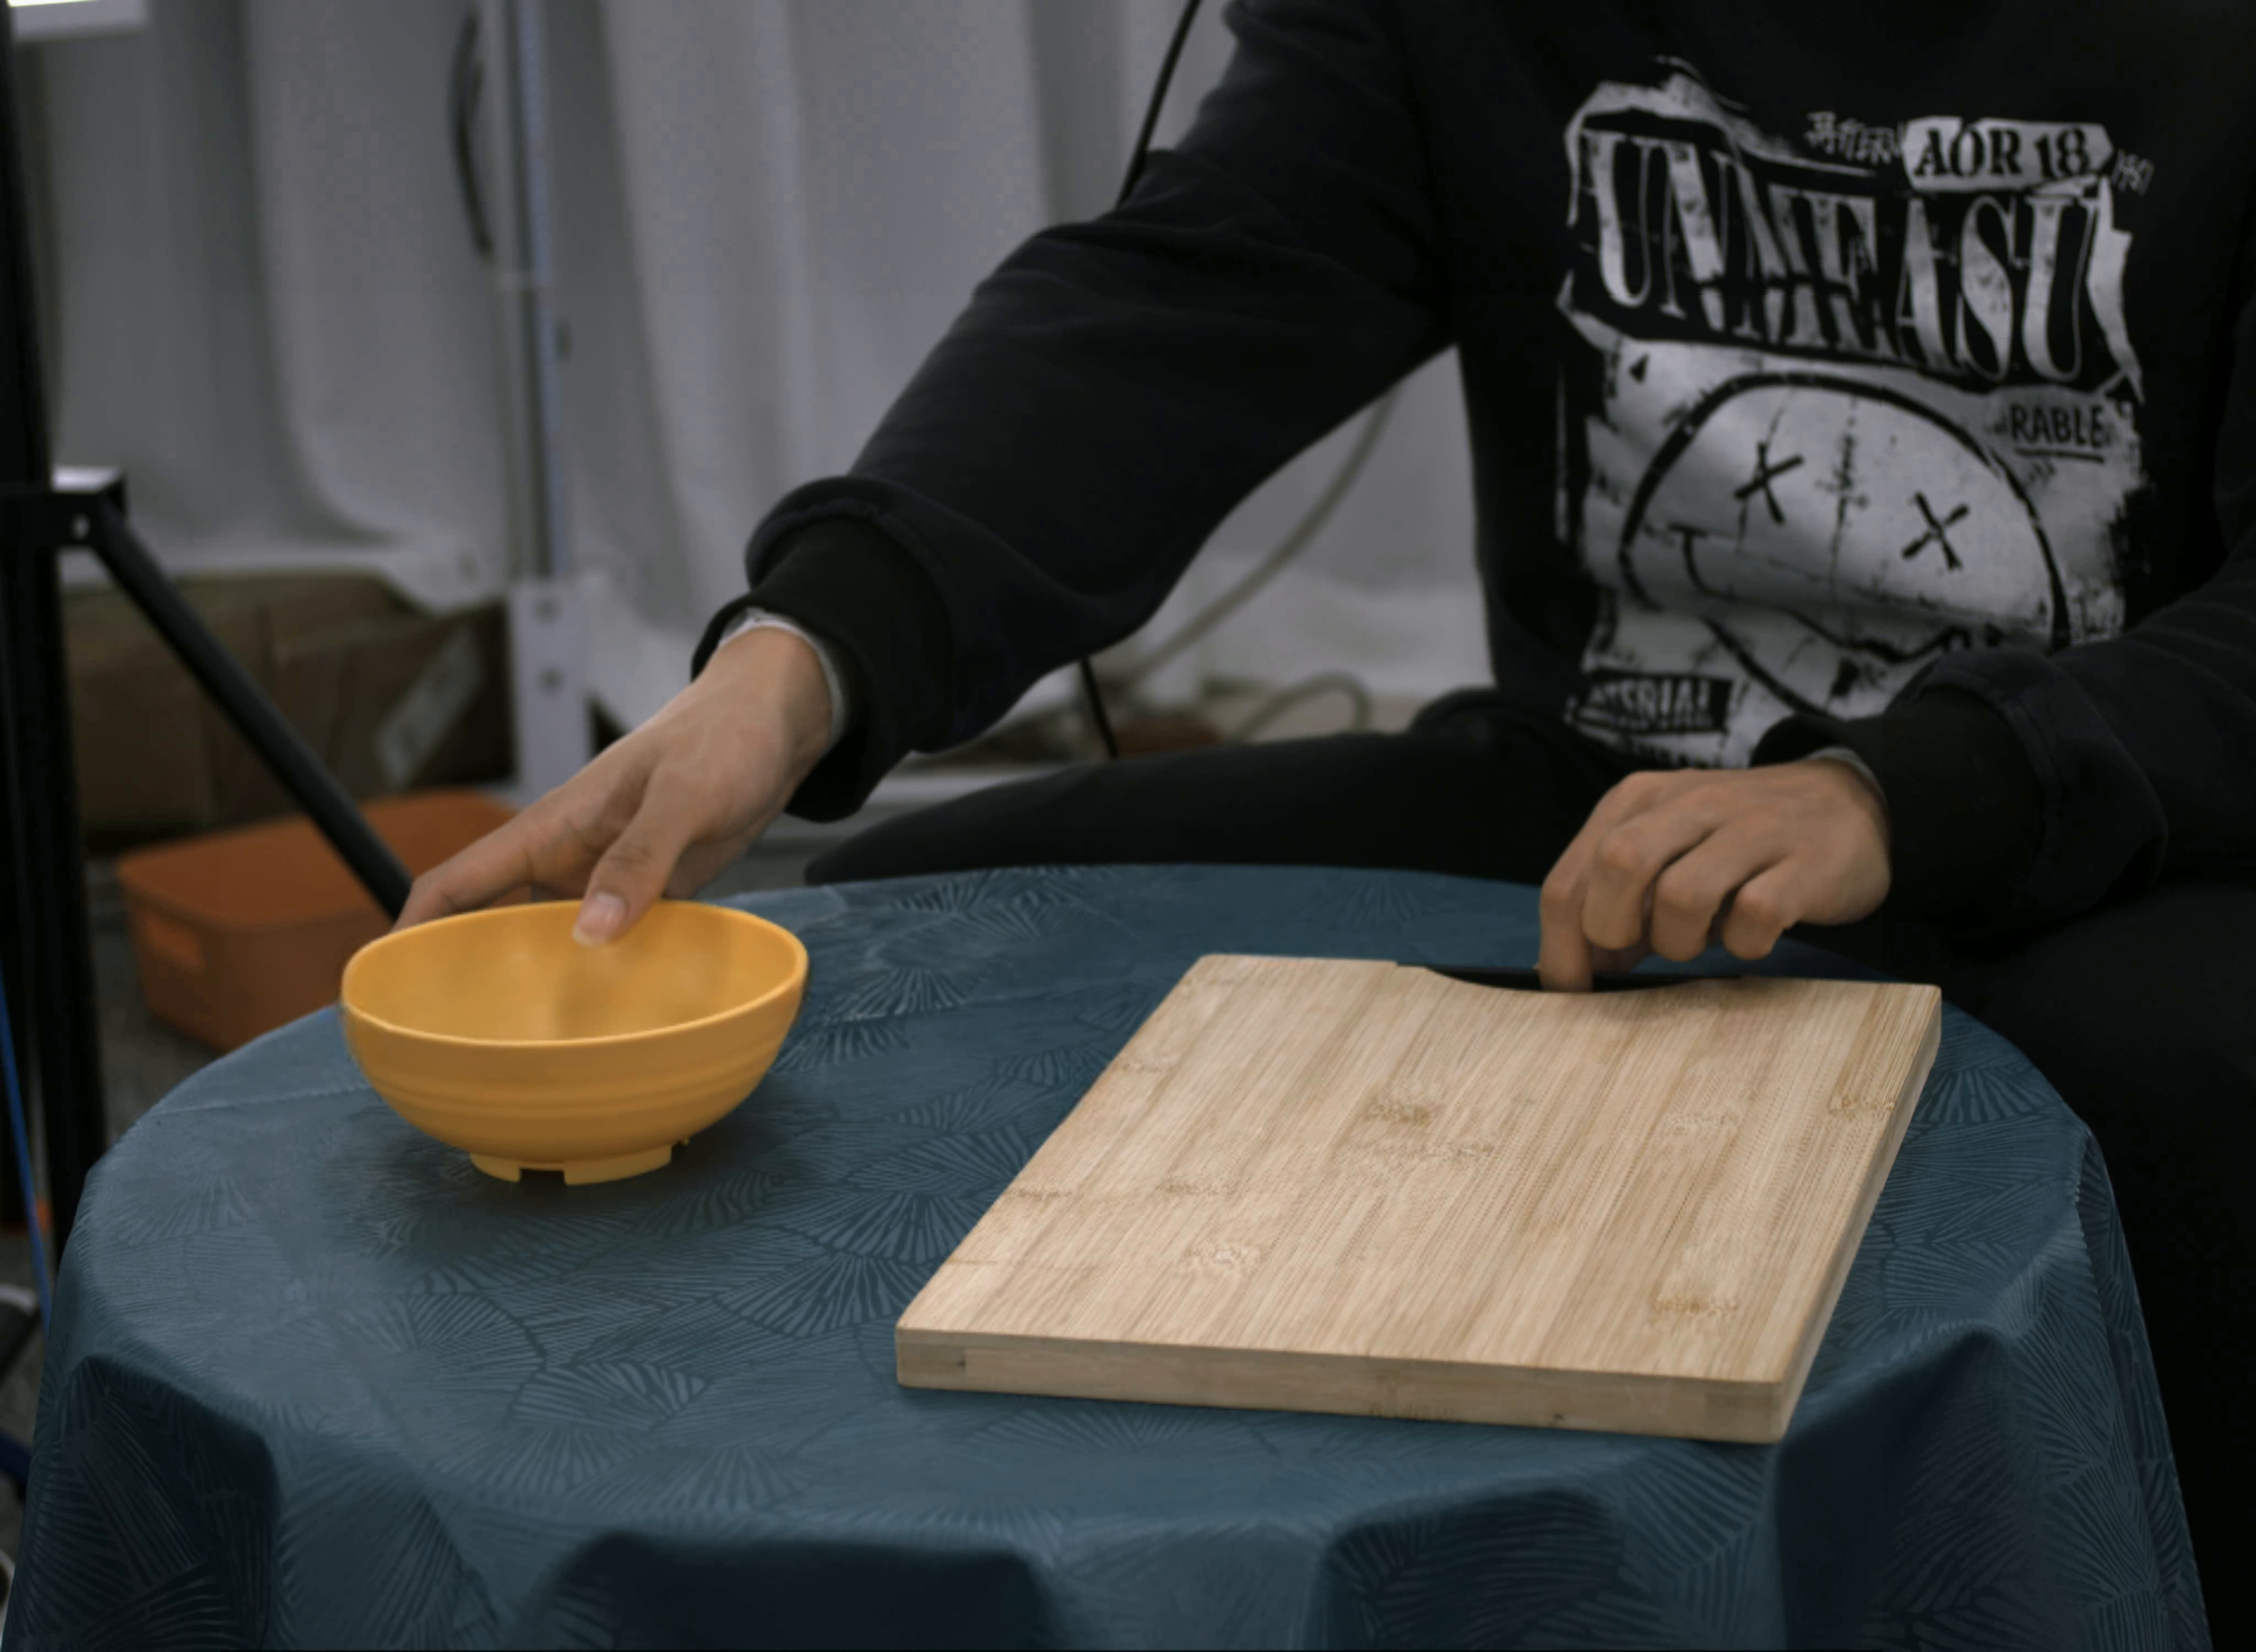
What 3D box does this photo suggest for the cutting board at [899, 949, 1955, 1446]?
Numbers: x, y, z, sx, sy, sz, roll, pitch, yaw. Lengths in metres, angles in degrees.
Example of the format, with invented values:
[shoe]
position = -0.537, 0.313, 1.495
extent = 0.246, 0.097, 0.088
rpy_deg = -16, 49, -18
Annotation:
[cutting board]
position = 0.099, 0.100, 1.541
extent = 0.253, 0.023, 0.346
rpy_deg = 2, 16, 15

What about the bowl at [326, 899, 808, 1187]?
[bowl]
position = -0.169, 0.071, 1.614
extent = 0.144, 0.060, 0.146
rpy_deg = 0, 16, -1
